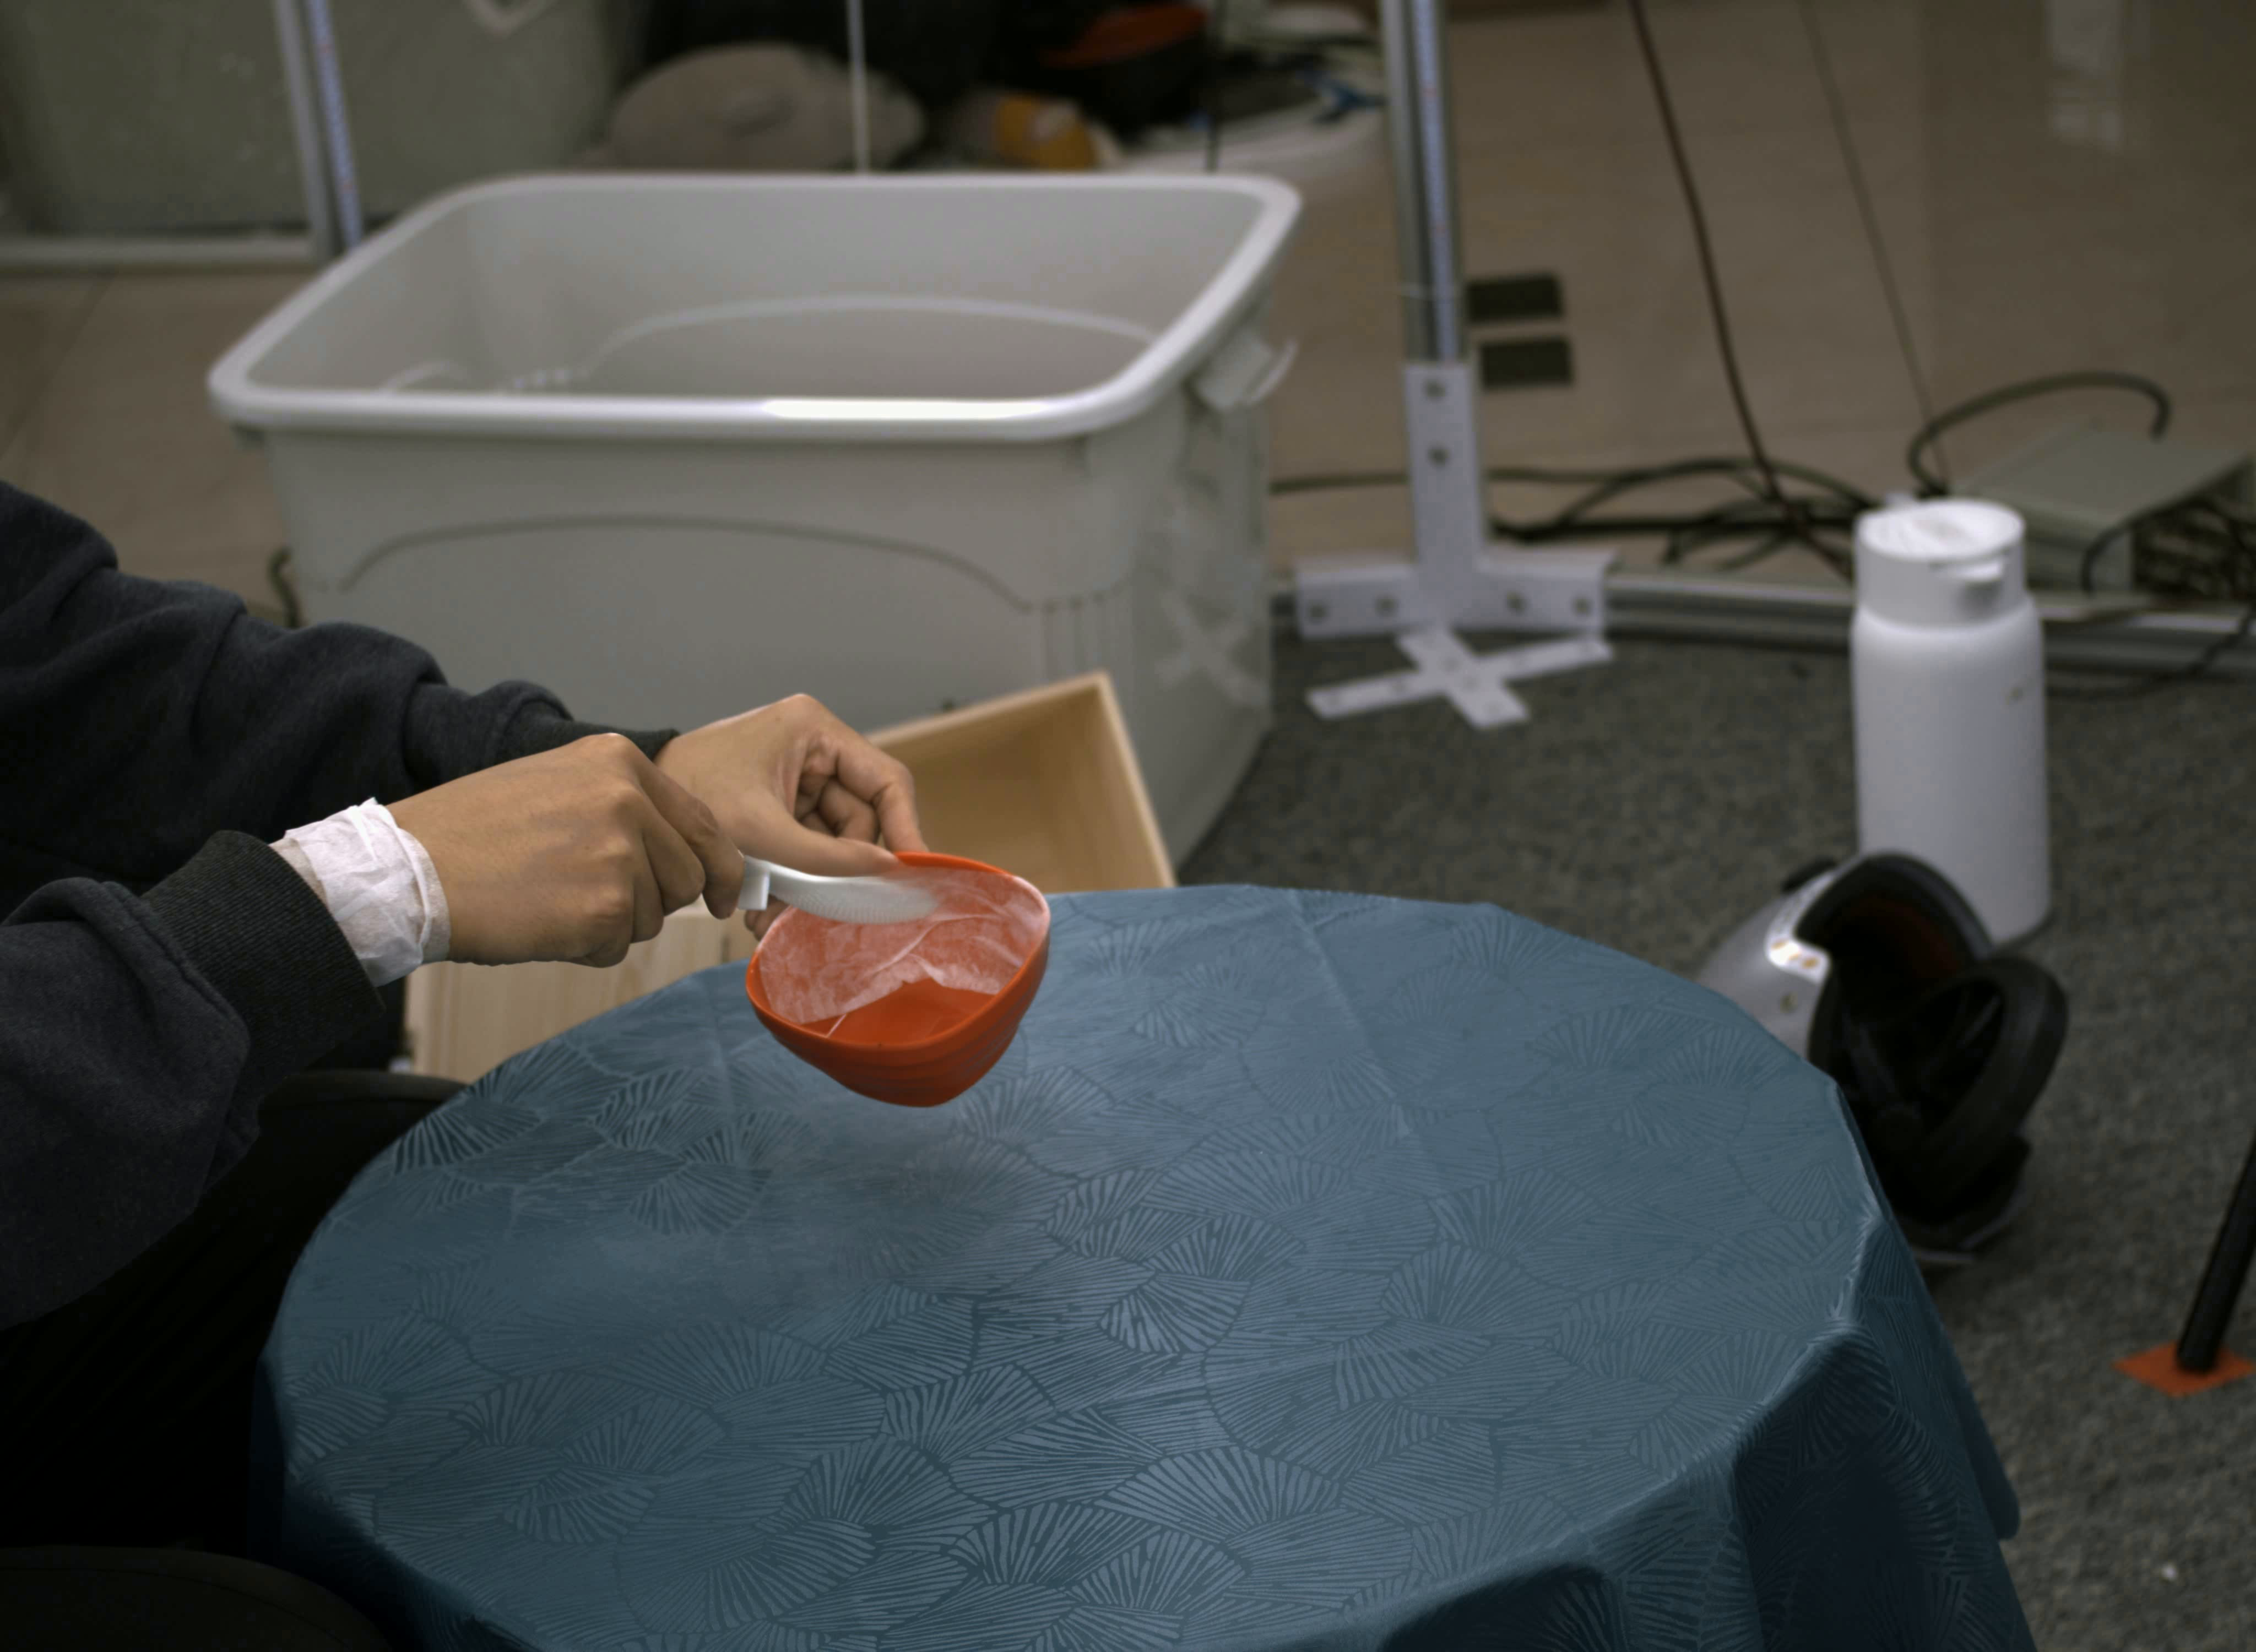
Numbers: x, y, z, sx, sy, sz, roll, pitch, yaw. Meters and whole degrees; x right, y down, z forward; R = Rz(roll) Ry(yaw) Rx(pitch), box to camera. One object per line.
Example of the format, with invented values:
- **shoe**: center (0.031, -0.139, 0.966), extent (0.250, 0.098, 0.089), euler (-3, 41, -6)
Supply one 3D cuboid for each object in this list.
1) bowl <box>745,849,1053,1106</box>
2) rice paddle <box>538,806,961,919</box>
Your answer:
- **bowl**: center (-0.083, 0.063, 2.144), extent (0.119, 0.052, 0.117), euler (-7, 39, 6)
- **rice paddle**: center (-0.134, 0.015, 2.040), extent (0.068, 0.029, 0.205), euler (3, -3, 36)
